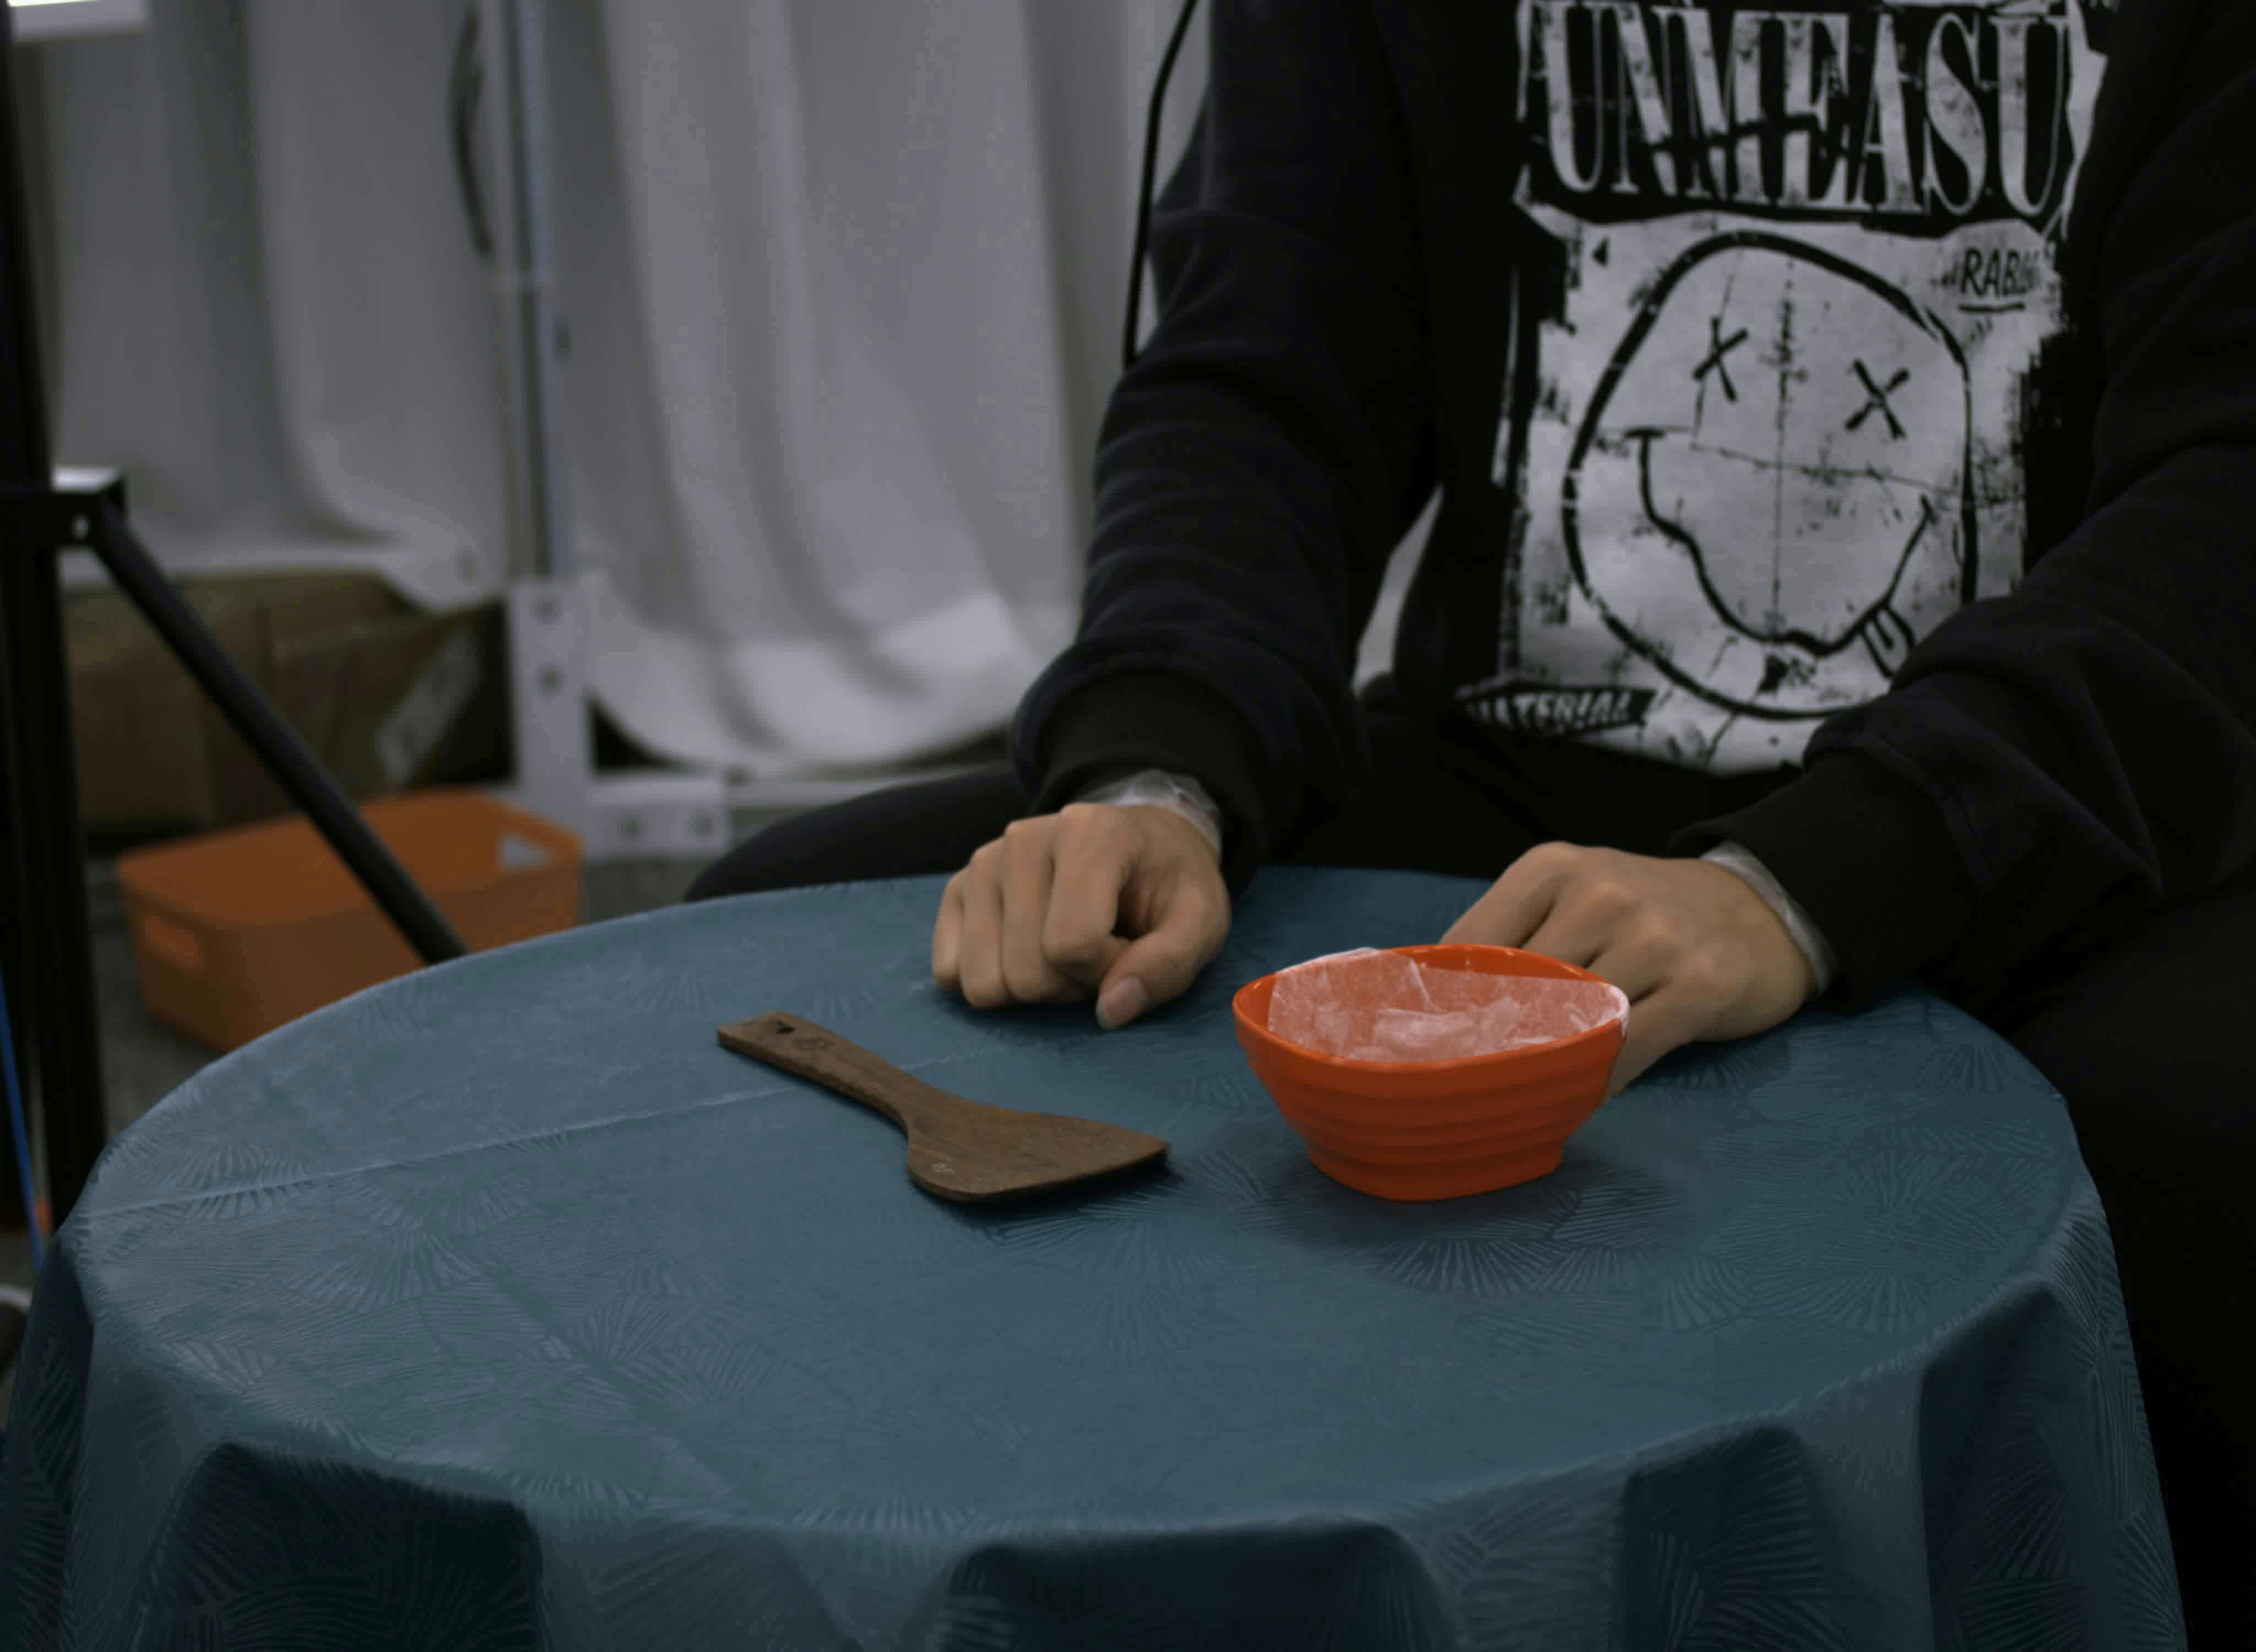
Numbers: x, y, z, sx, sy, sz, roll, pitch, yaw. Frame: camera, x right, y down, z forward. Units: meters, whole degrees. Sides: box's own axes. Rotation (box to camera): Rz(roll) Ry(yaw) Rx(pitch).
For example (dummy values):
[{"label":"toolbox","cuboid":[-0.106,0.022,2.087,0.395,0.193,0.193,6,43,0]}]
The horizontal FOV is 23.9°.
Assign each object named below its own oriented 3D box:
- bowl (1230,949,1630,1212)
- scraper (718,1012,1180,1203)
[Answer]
[{"label":"bowl","cuboid":[0.090,0.077,1.566,0.118,0.051,0.119,-4,16,0]},{"label":"scraper","cuboid":[-0.066,0.085,1.637,0.074,0.011,0.216,-10,17,-30]}]
